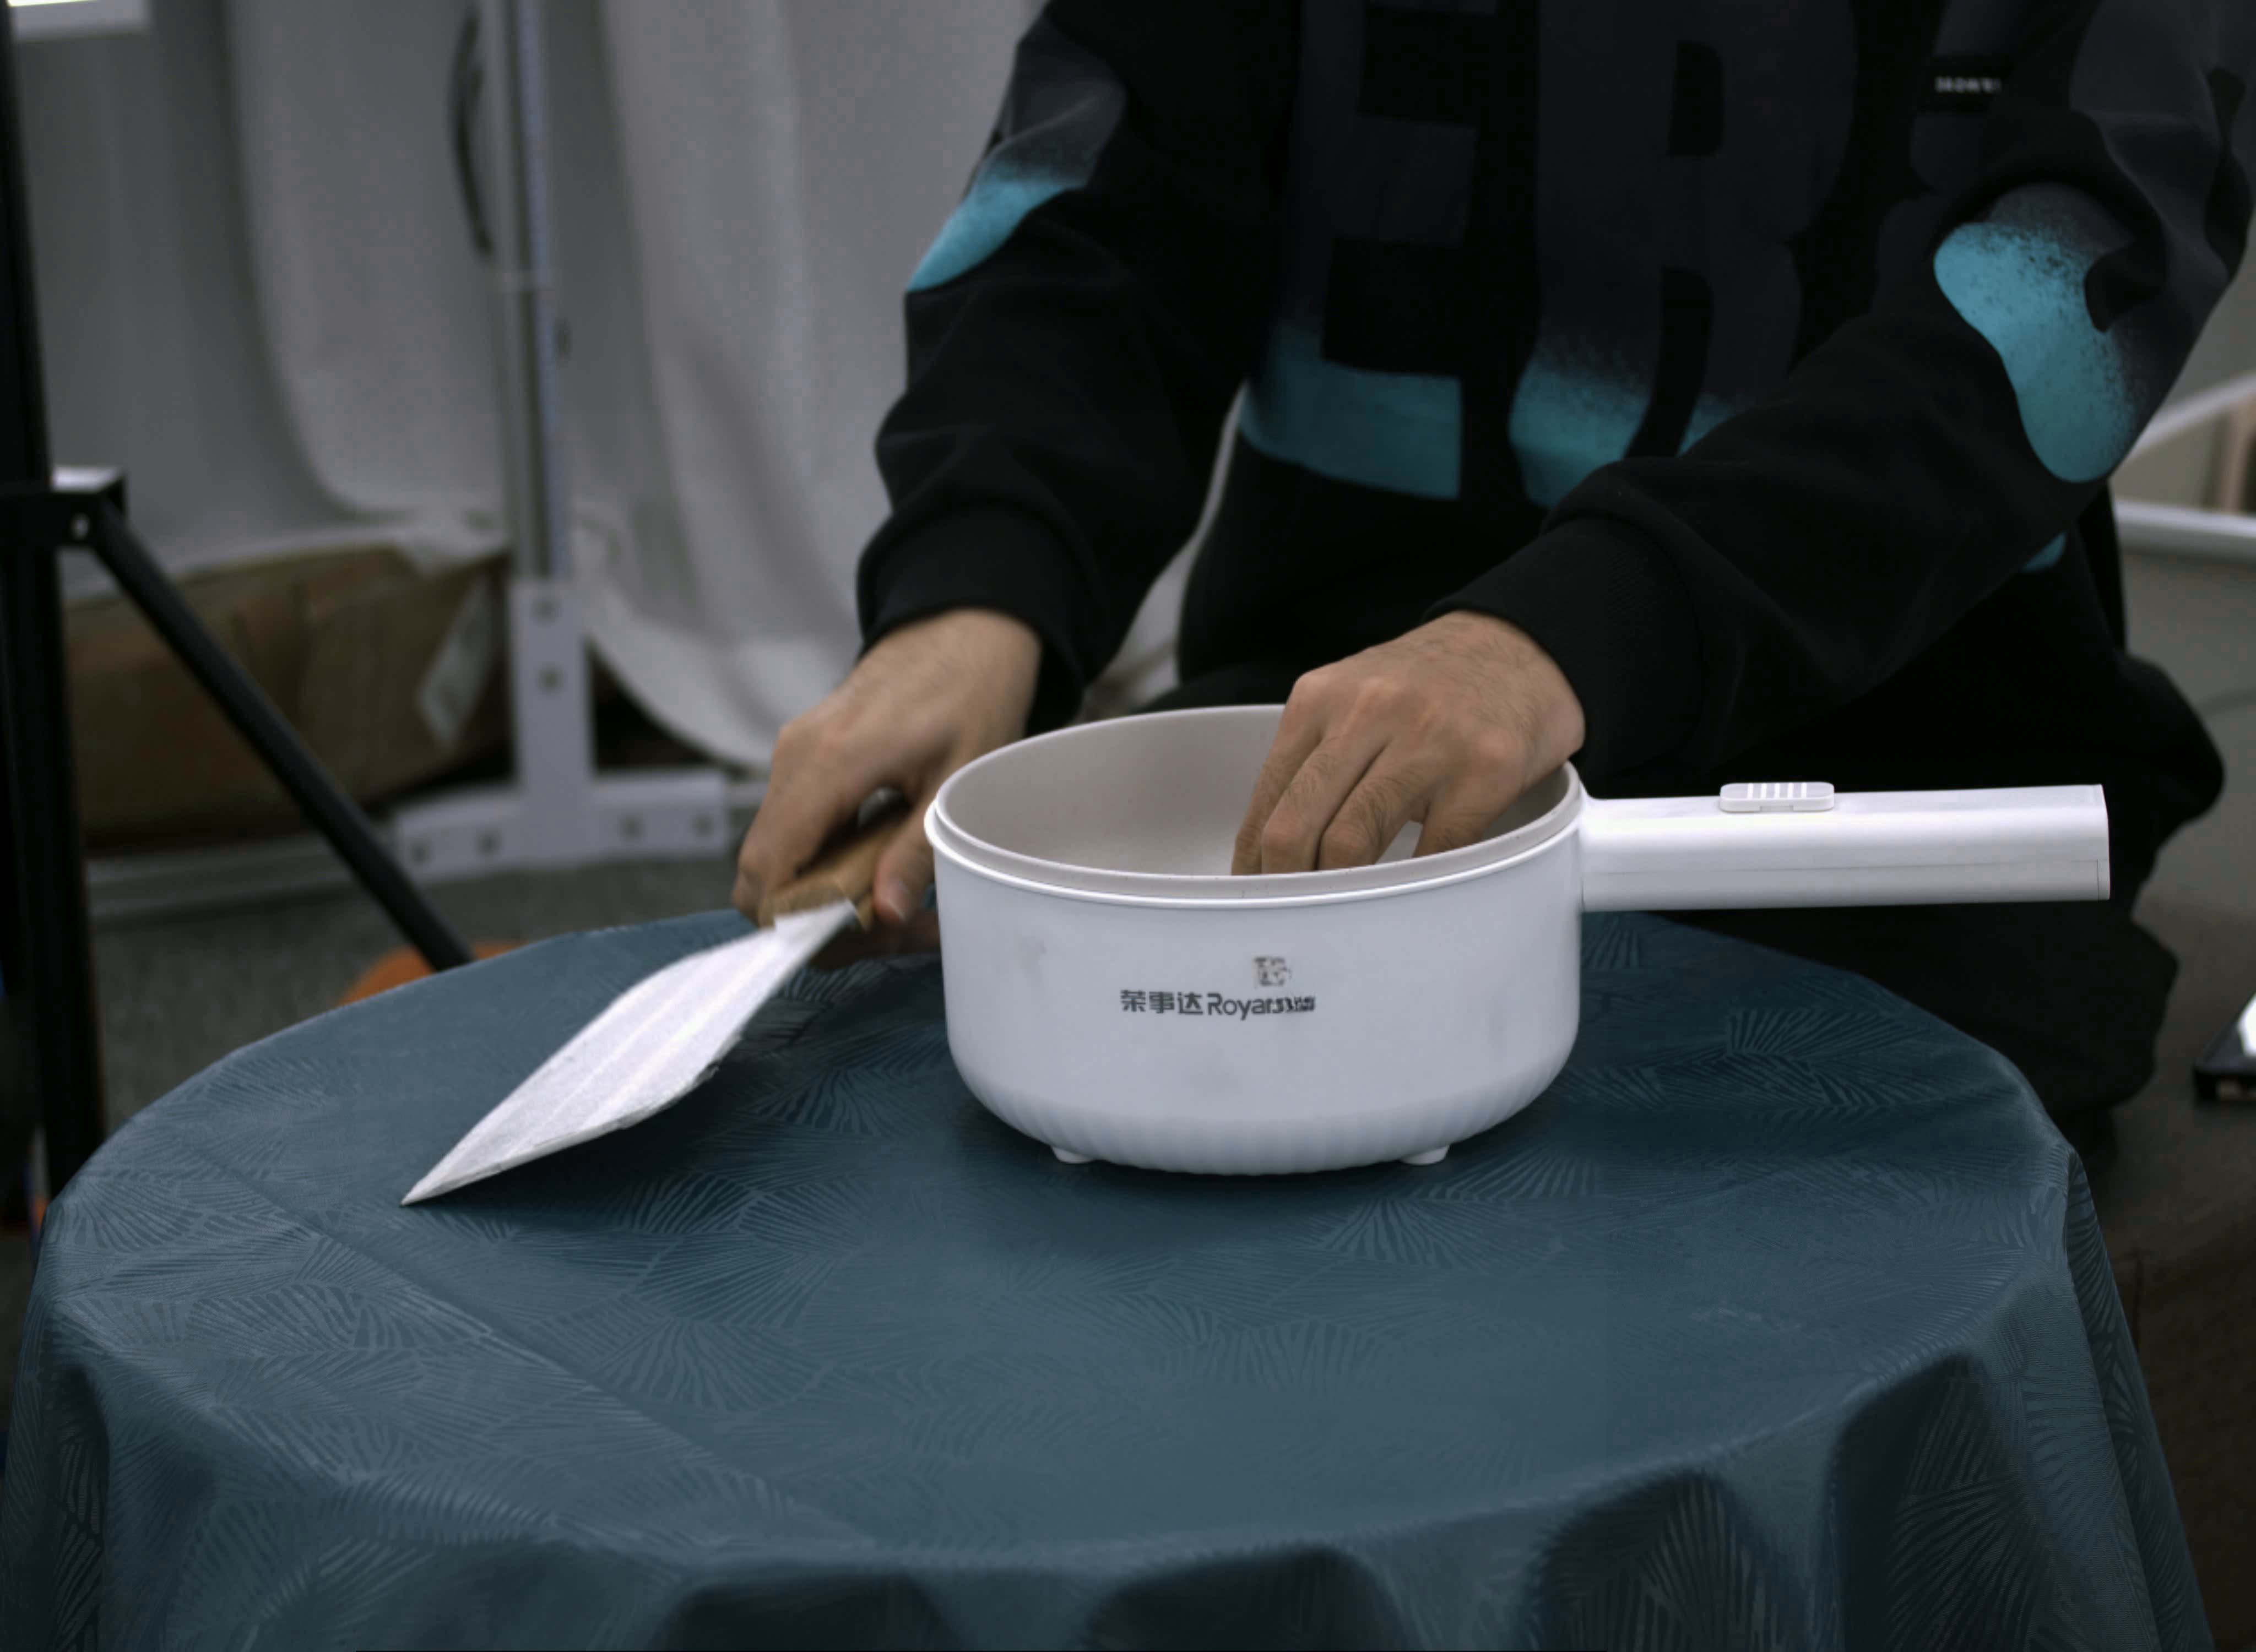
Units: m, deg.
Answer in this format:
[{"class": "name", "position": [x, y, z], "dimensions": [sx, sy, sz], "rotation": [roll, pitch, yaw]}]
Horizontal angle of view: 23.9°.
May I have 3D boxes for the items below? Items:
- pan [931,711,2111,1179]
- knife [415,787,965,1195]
[{"class": "pan", "position": [0.117, 0.039, 1.603], "dimensions": [0.356, 0.102, 0.200], "rotation": [1, 15, 9]}, {"class": "knife", "position": [-0.121, 0.049, 1.692], "dimensions": [0.115, 0.021, 0.311], "rotation": [-19, 11, 28]}]
